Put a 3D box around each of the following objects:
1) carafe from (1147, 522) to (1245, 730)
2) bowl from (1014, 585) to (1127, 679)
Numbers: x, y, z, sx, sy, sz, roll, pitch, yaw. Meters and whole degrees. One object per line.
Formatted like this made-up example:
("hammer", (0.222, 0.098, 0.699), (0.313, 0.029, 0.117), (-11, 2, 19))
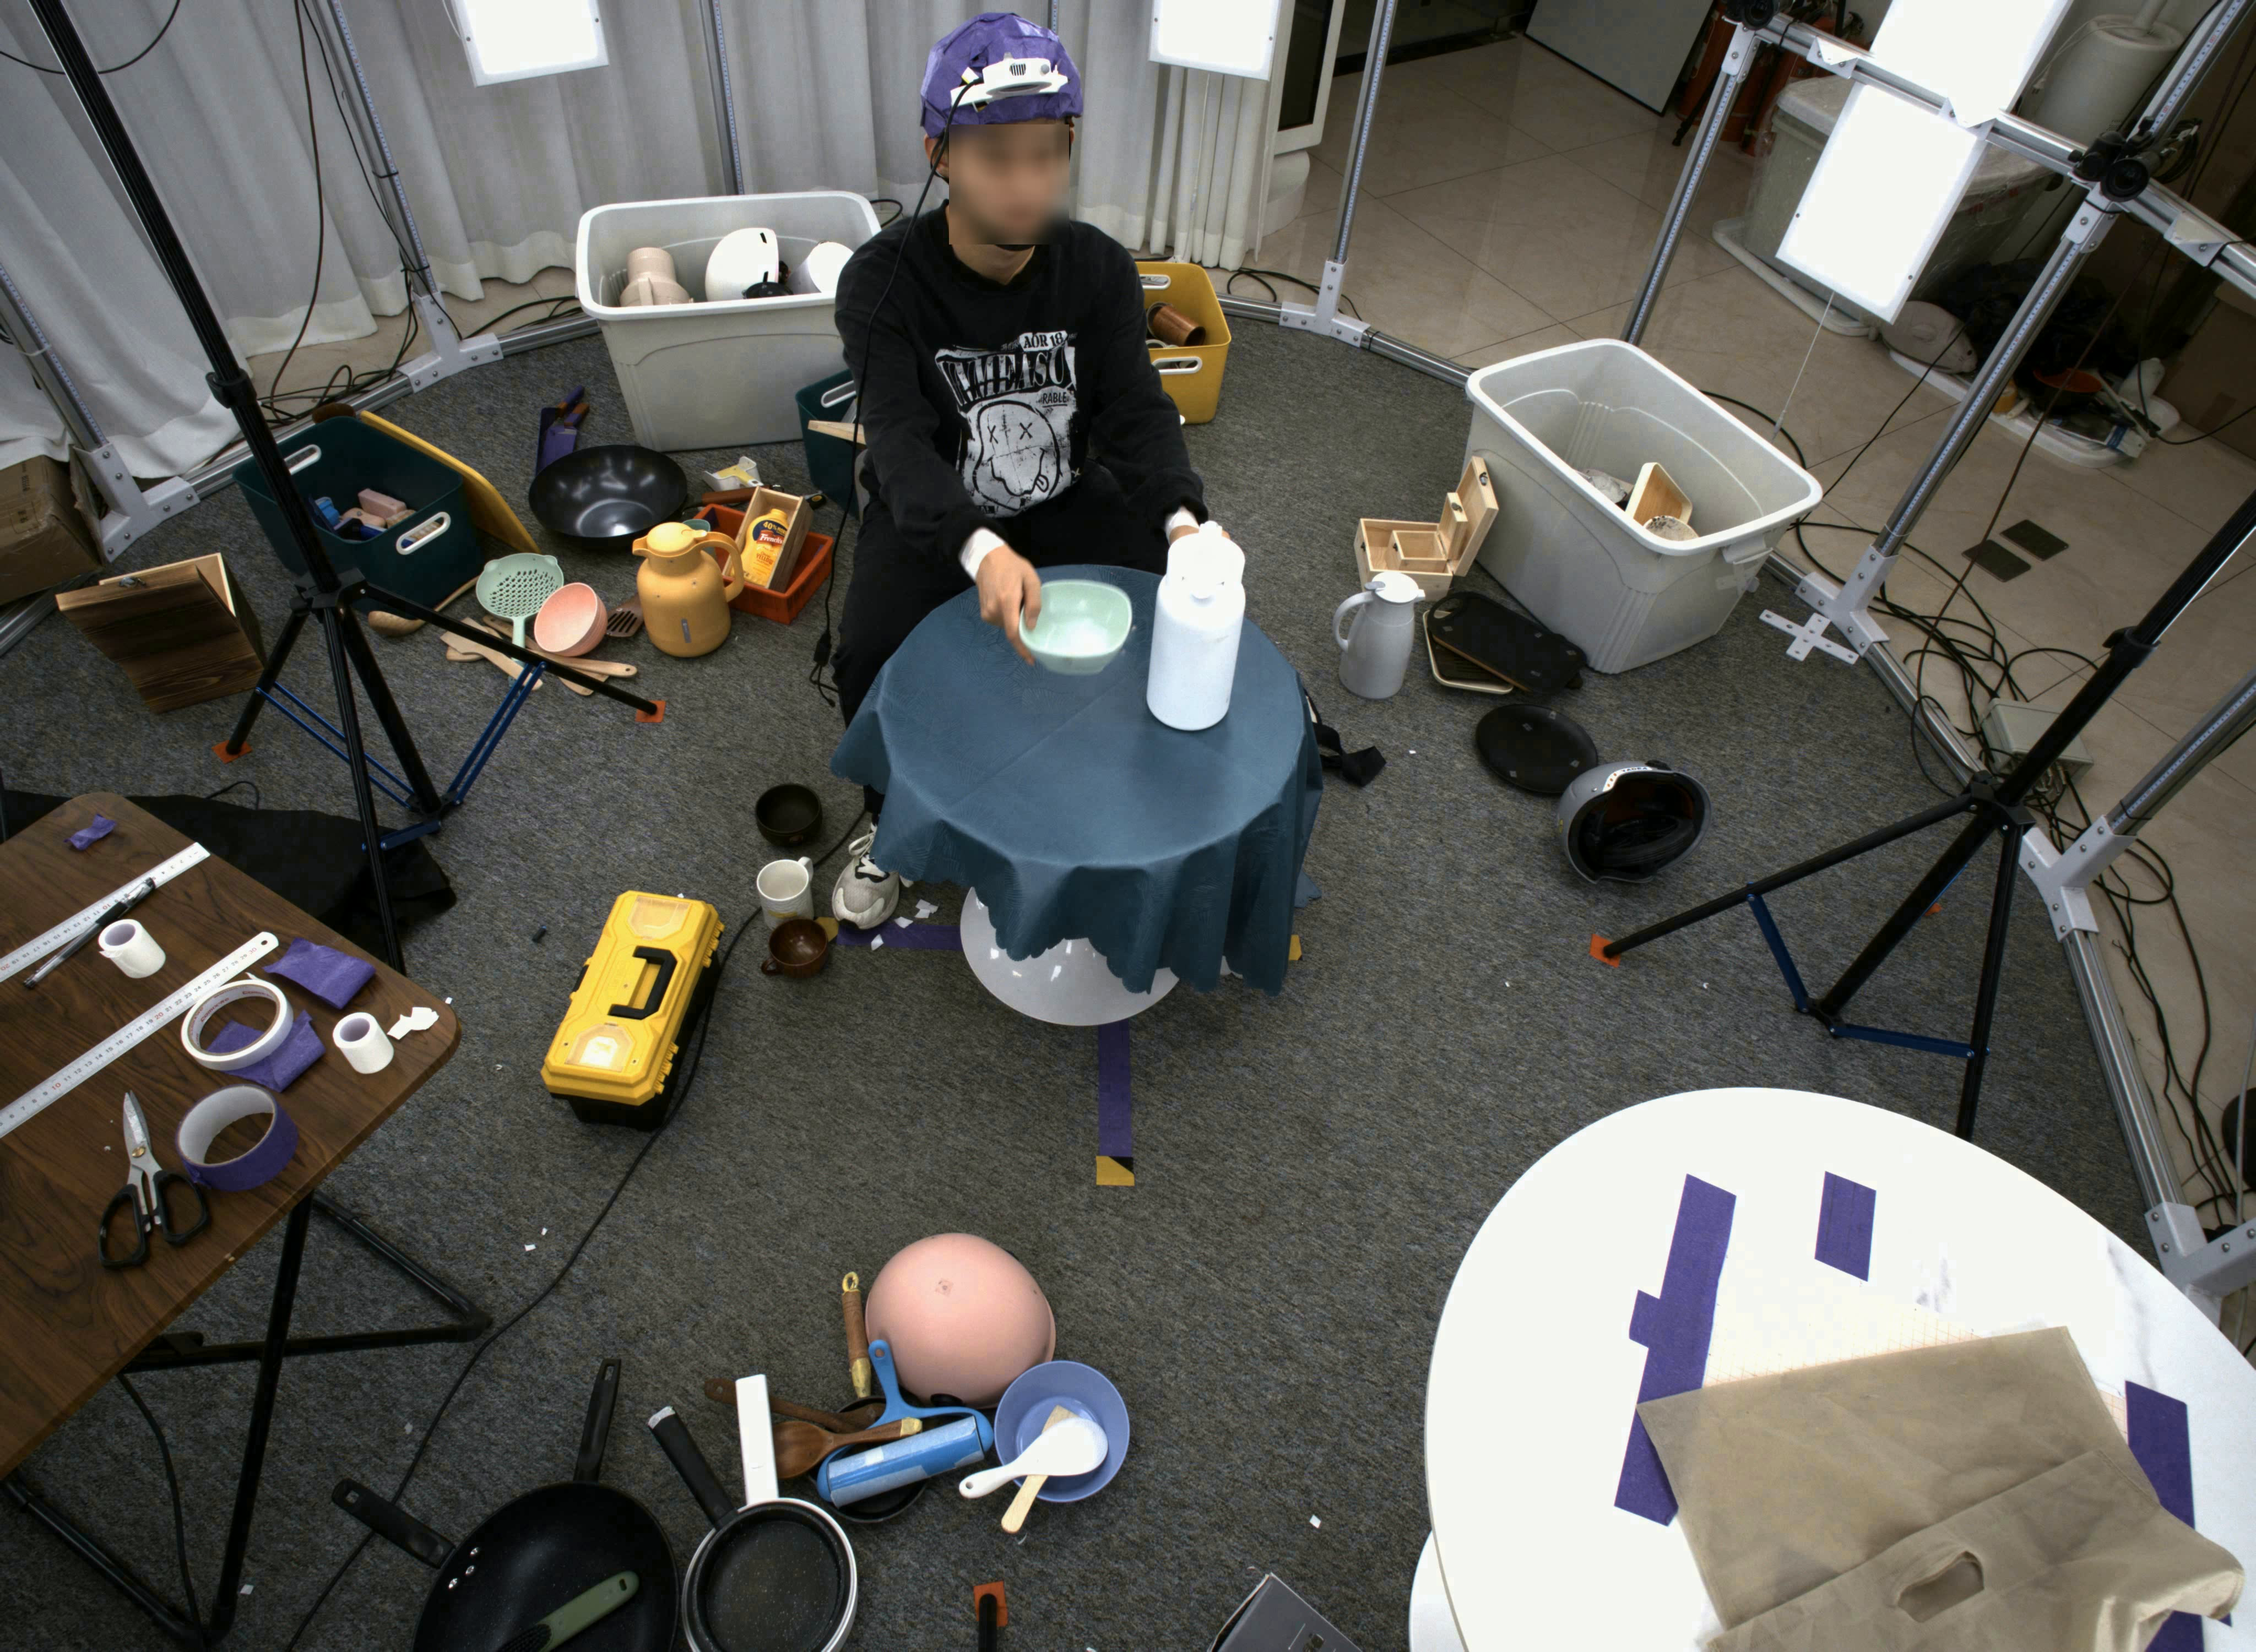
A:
("carafe", (0.092, -0.272, 1.739), (0.124, 0.262, 0.177), (5, 49, 3))
("bowl", (-0.071, -0.235, 1.613), (0.151, 0.057, 0.155), (0, 49, 0))
